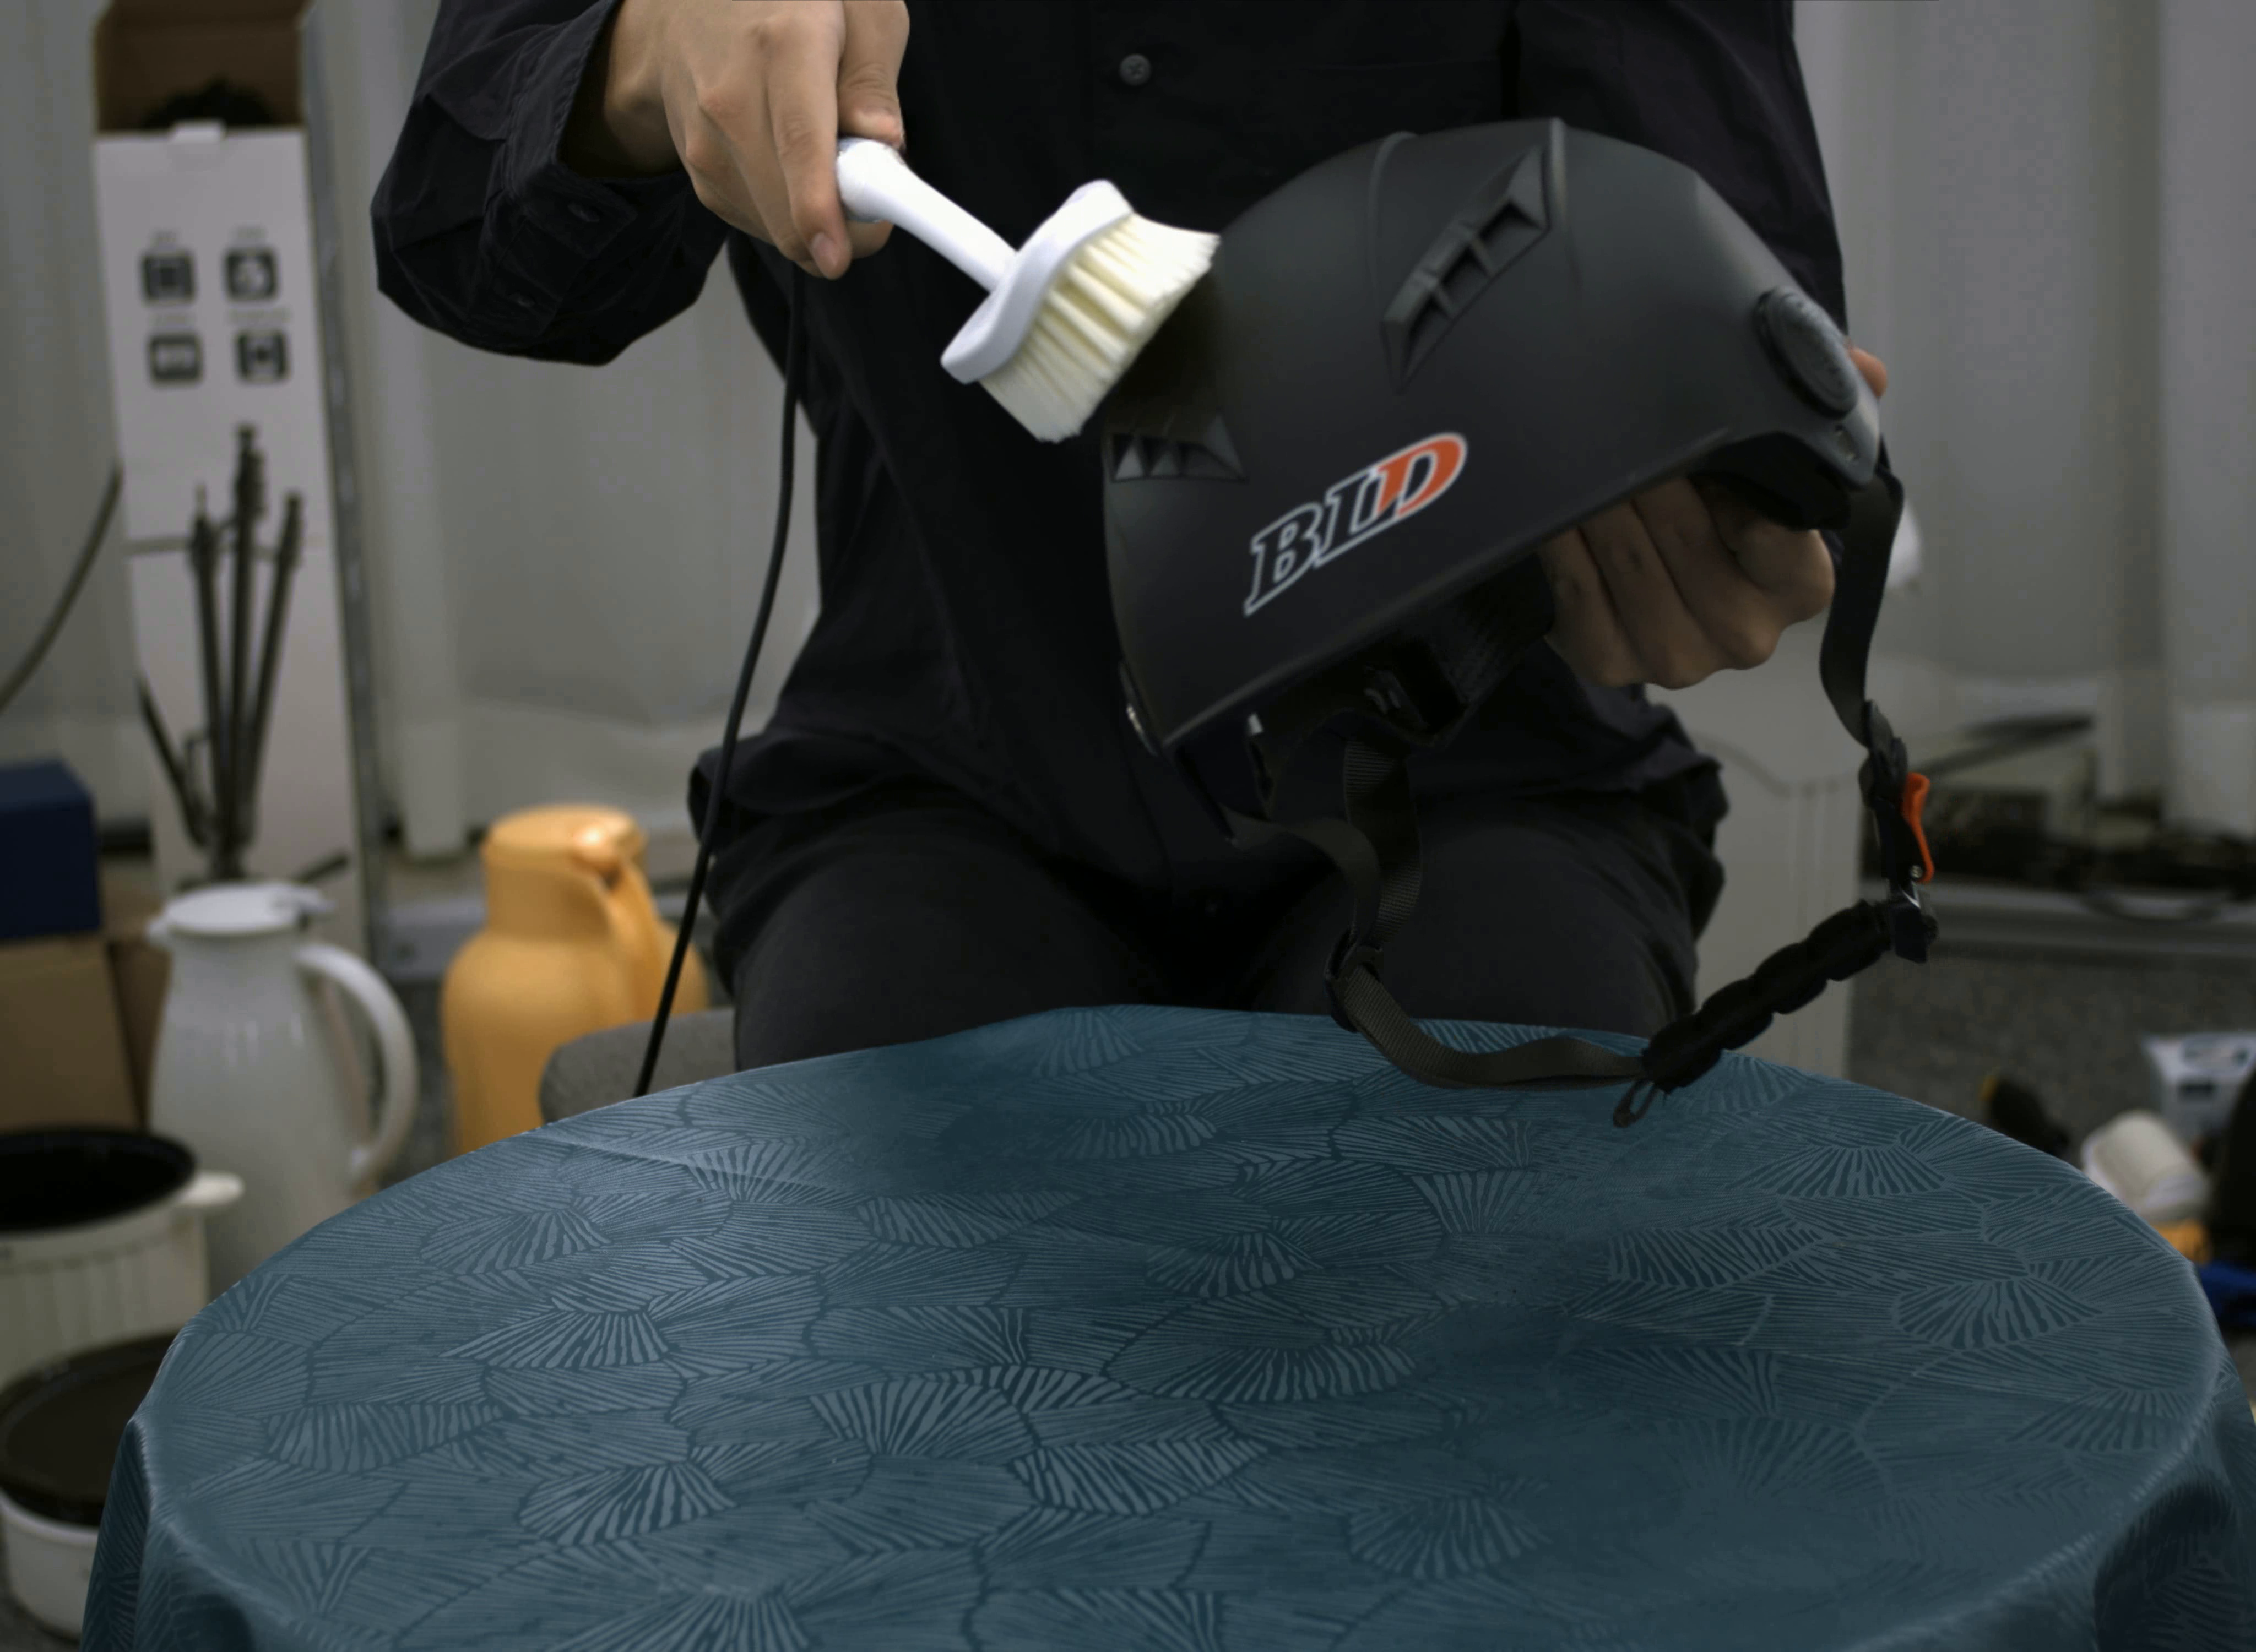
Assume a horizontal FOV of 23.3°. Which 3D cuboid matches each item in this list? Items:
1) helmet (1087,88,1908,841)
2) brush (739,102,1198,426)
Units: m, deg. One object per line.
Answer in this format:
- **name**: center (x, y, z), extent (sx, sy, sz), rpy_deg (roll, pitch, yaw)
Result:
- **helmet**: center (0.091, -0.119, 1.569), extent (0.246, 0.173, 0.276), rpy_deg (-30, -4, 20)
- **brush**: center (-0.040, -0.172, 1.638), extent (0.083, 0.084, 0.328), rpy_deg (-18, 16, -12)
